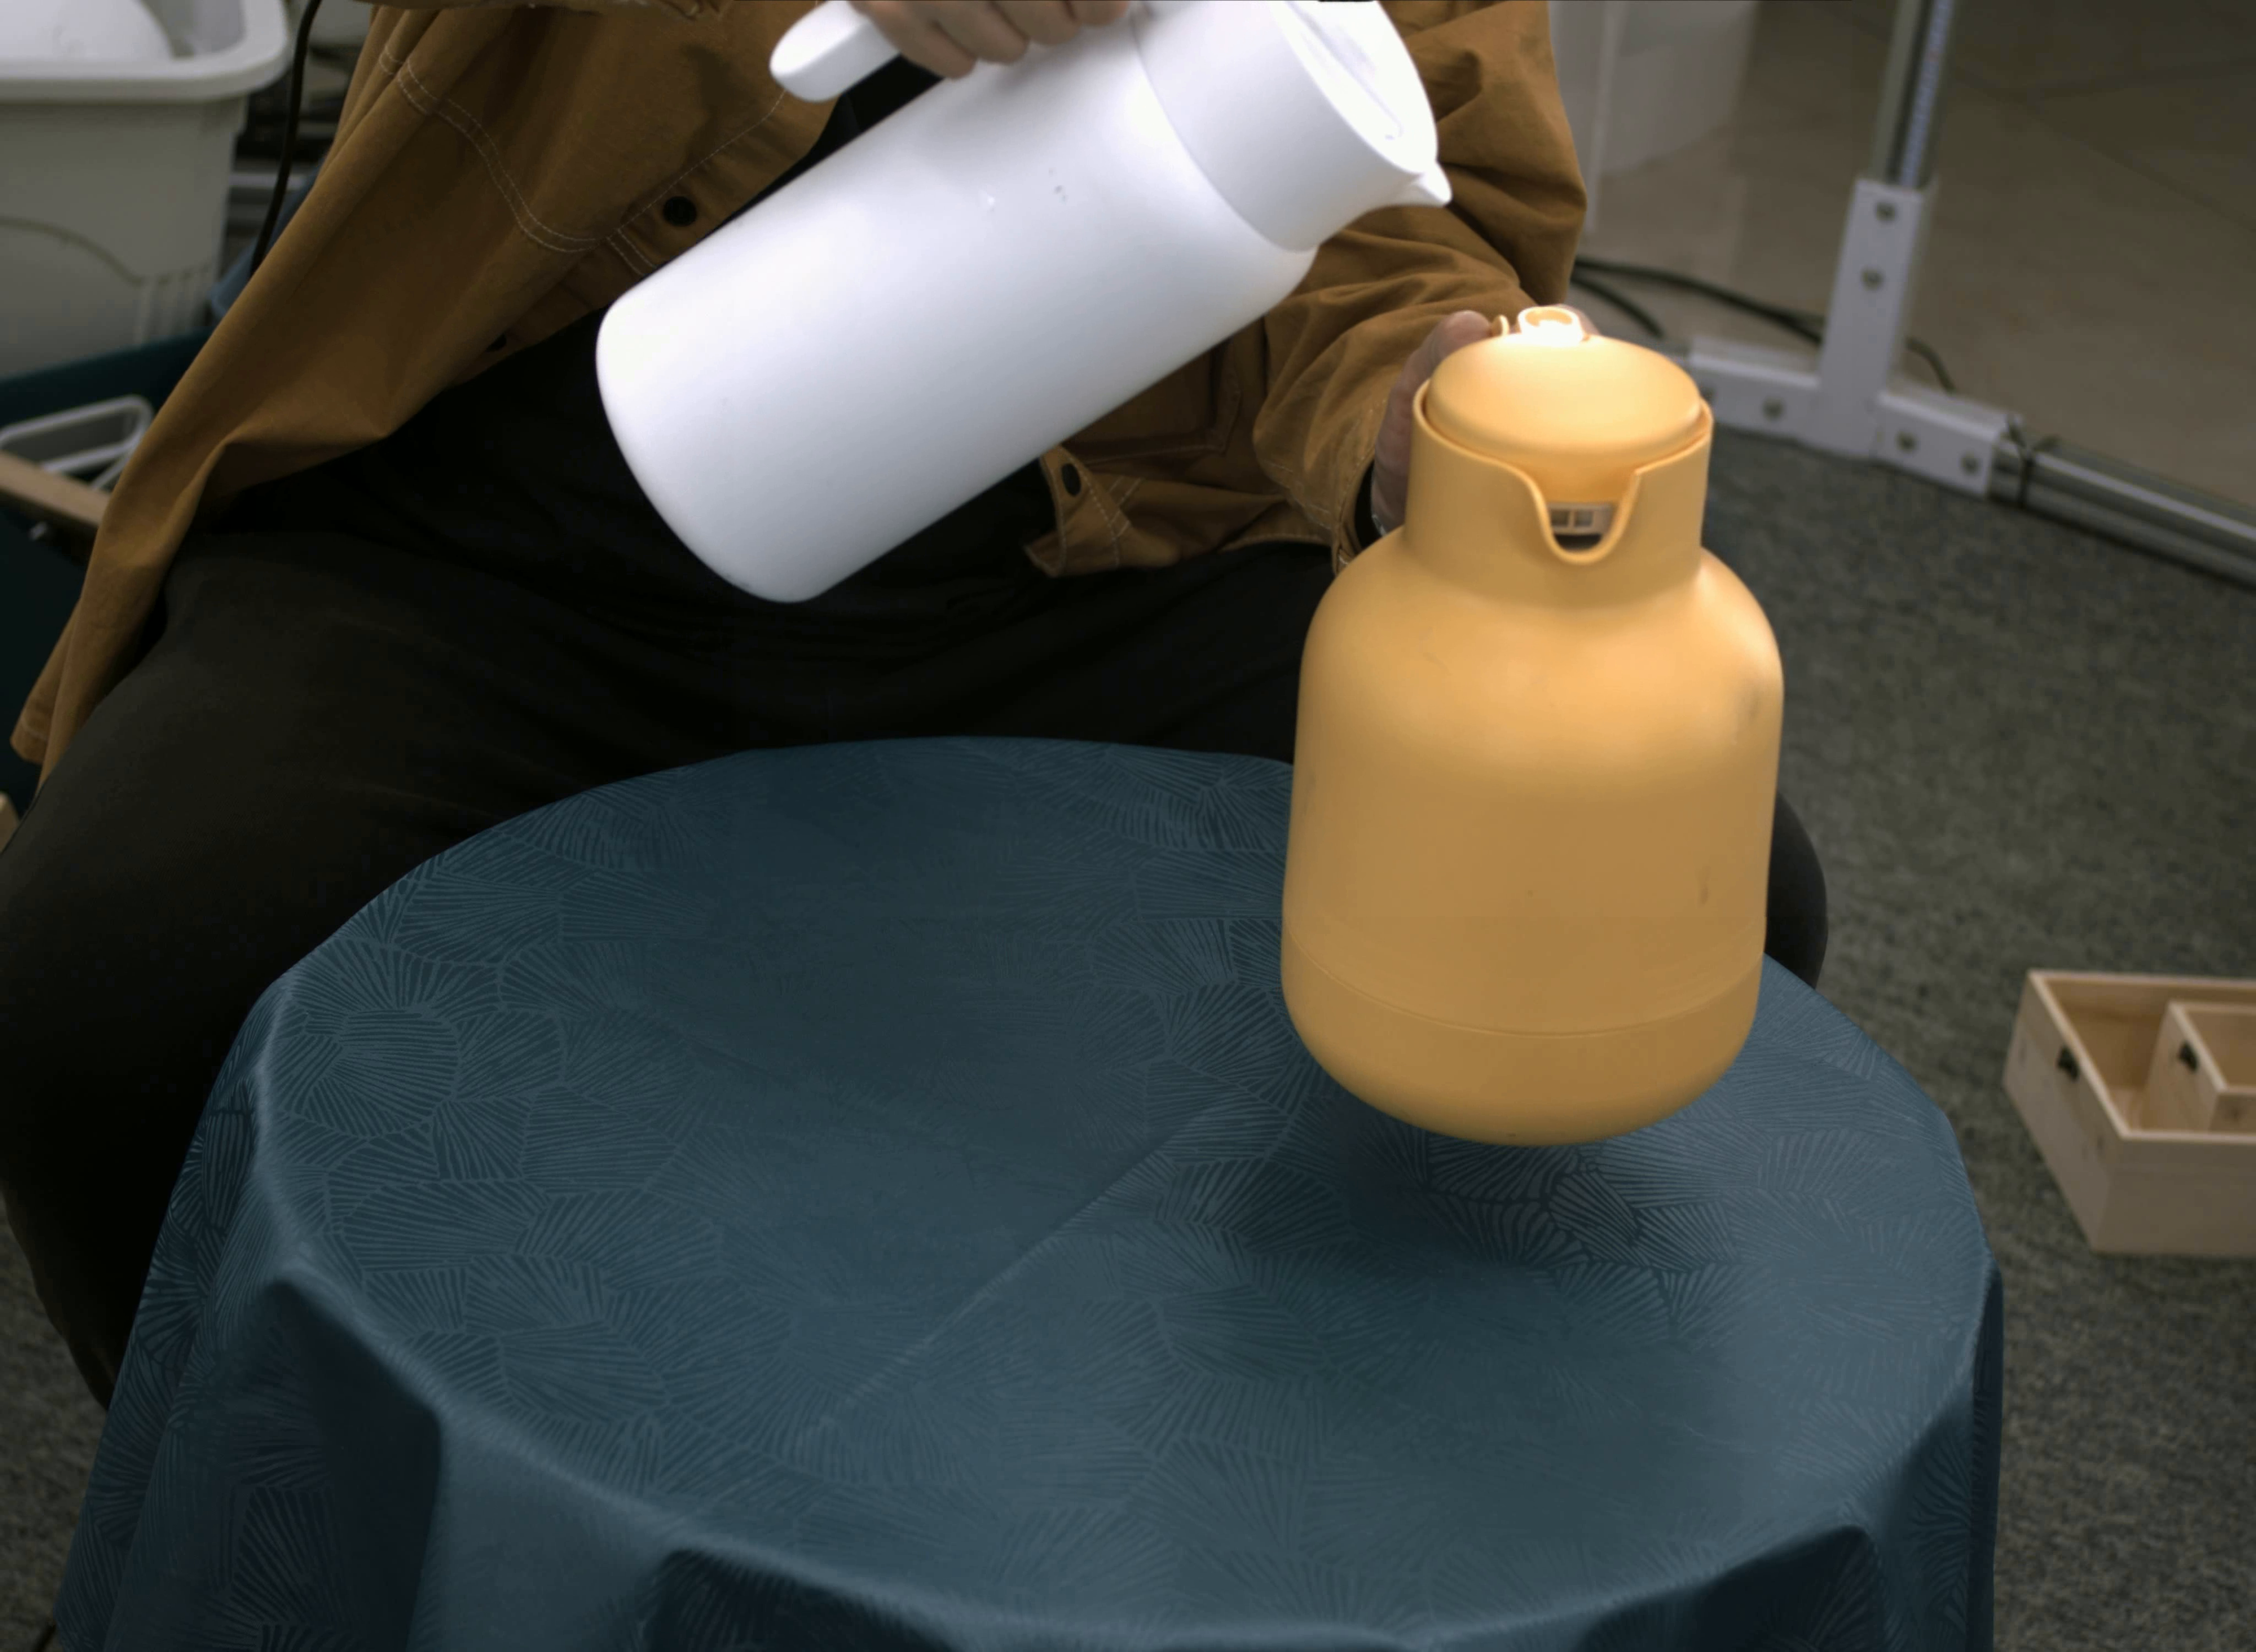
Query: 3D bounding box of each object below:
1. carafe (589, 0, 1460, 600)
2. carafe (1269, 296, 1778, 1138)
[{"bbox_3d":[-0.049,-0.194,1.690,0.269,0.171,0.125,-30,34,26],"label":"carafe"},{"bbox_3d":[0.136,-0.046,1.782,0.163,0.259,0.203,5,30,0],"label":"carafe"}]
